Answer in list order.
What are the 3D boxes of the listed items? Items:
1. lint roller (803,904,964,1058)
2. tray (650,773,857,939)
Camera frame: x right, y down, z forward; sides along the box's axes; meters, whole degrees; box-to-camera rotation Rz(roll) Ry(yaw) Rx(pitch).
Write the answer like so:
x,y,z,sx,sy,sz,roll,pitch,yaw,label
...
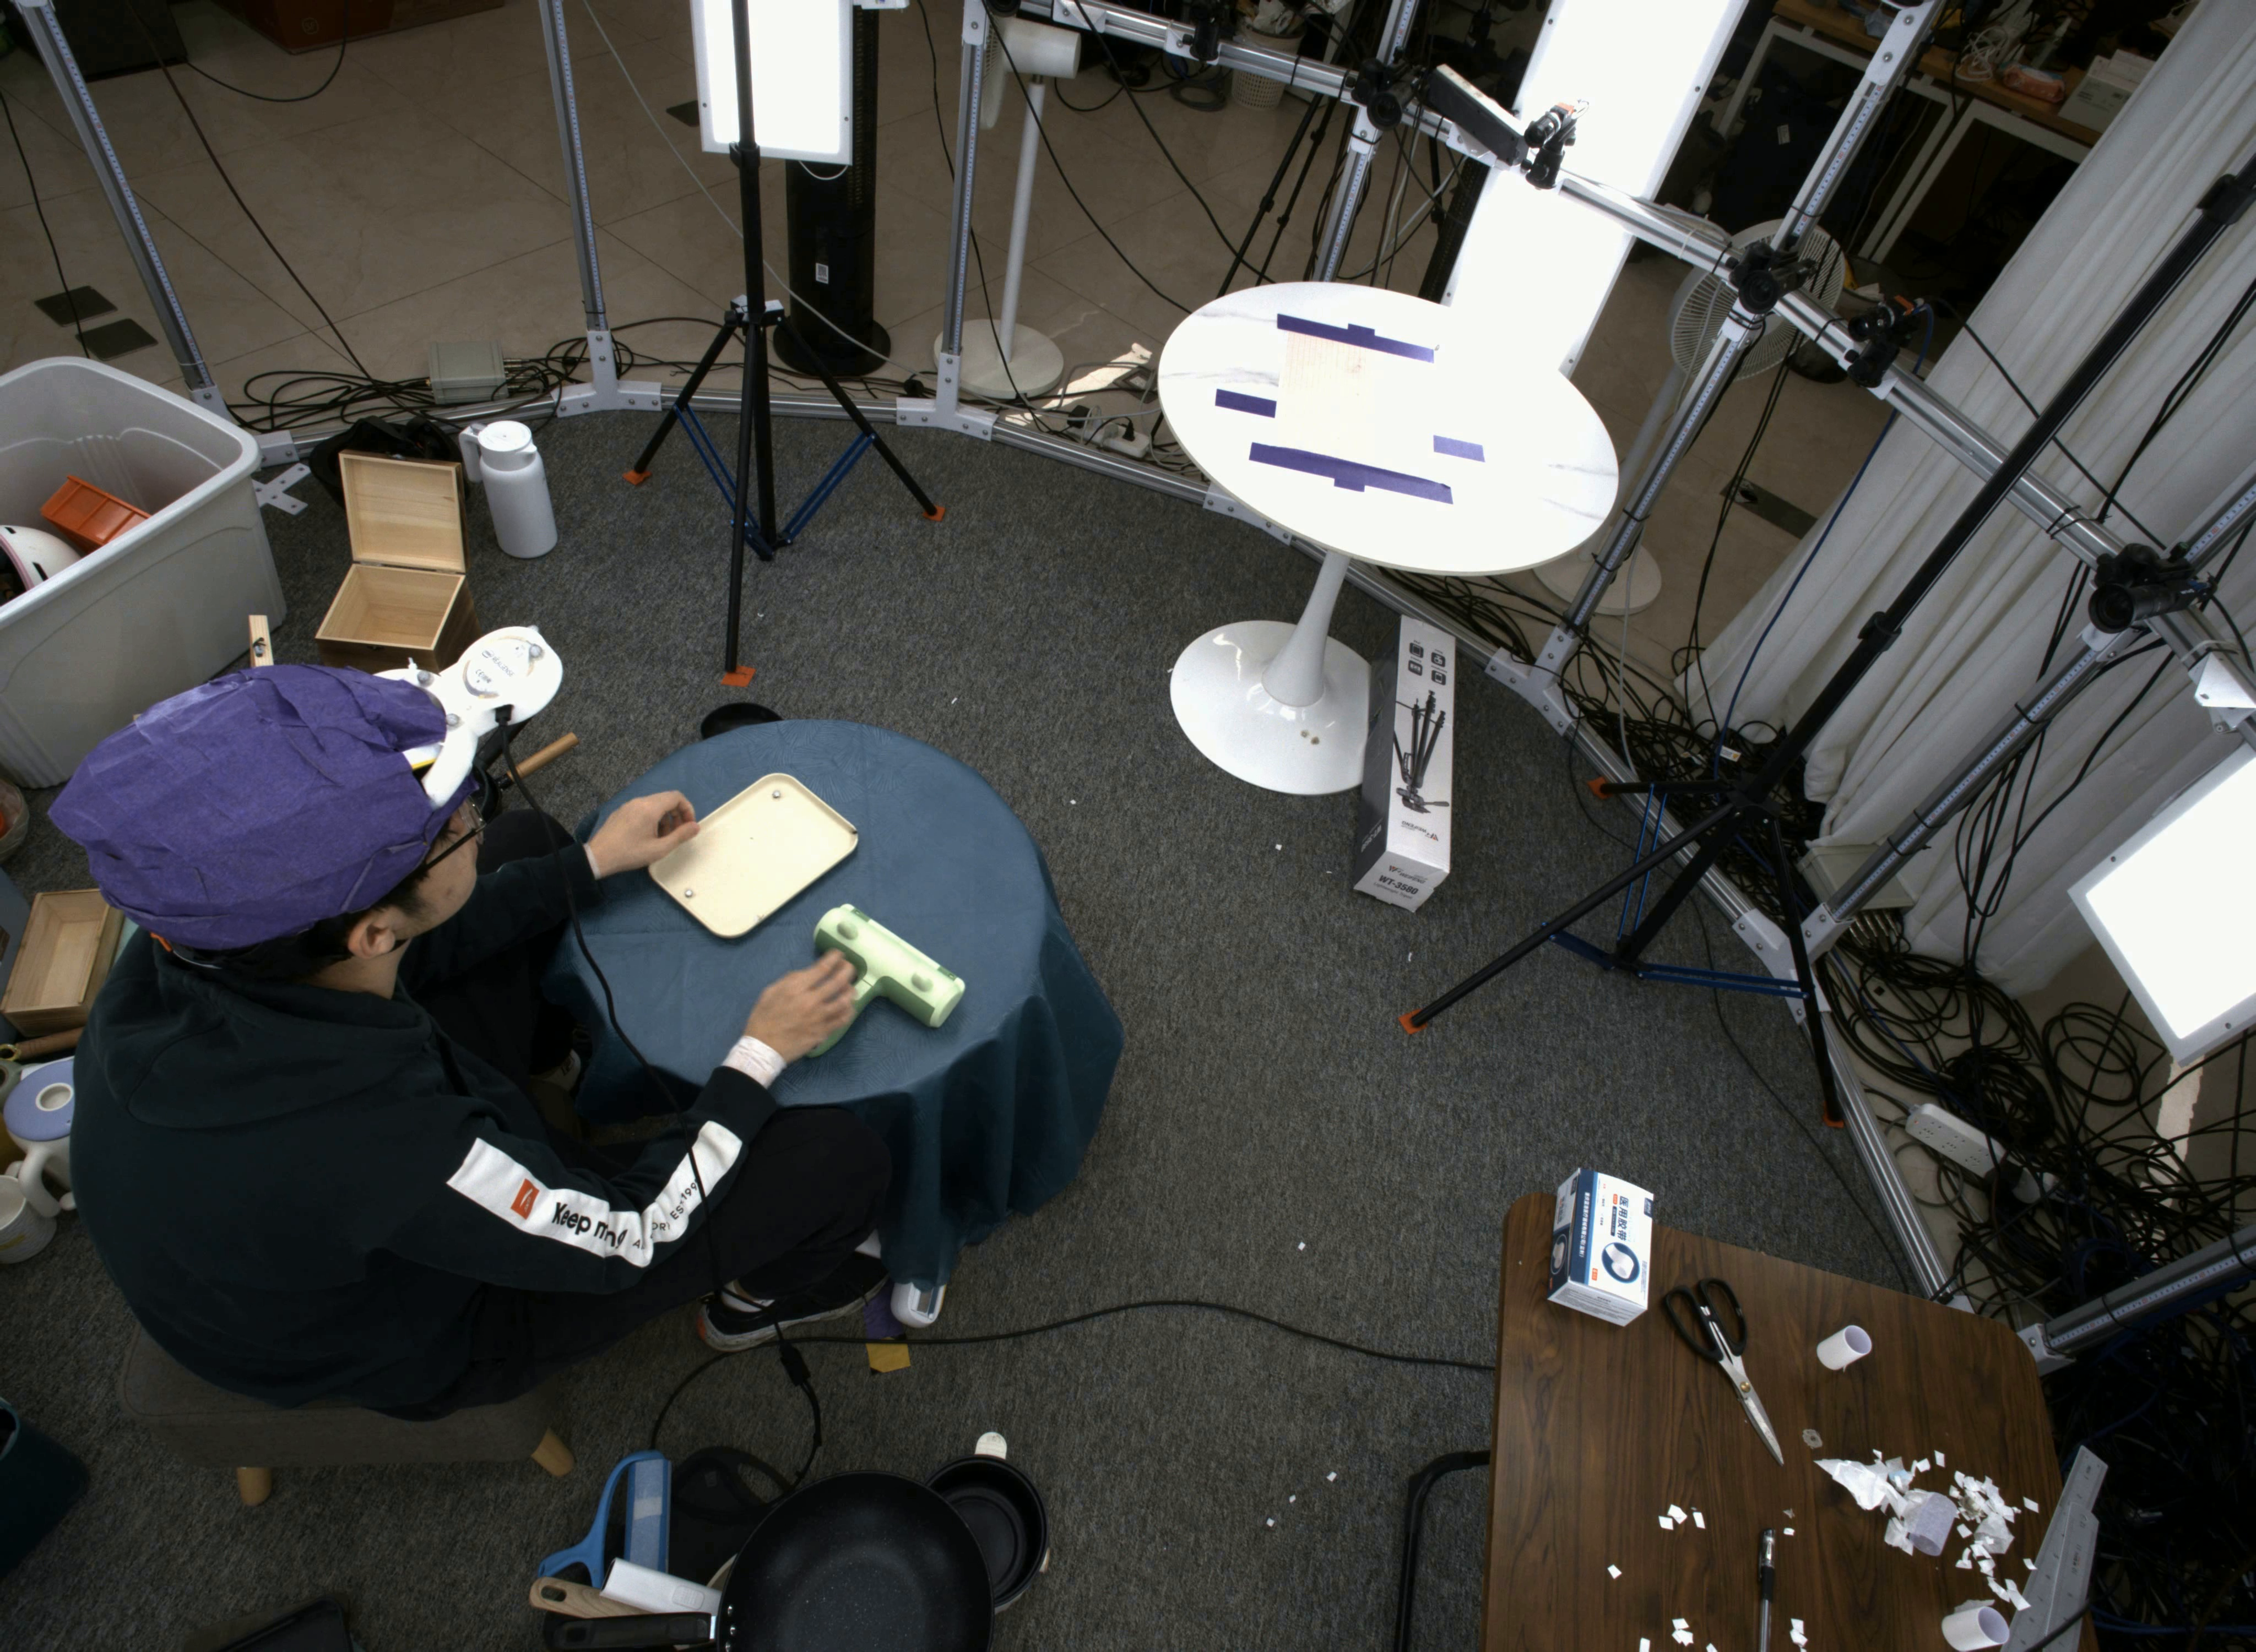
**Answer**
x,y,z,sx,sy,sz,roll,pitch,yaw,label
-0.326,0.196,1.561,0.195,0.084,0.183,33,48,11,lint roller
-0.483,0.035,1.677,0.168,0.018,0.239,37,54,14,tray
